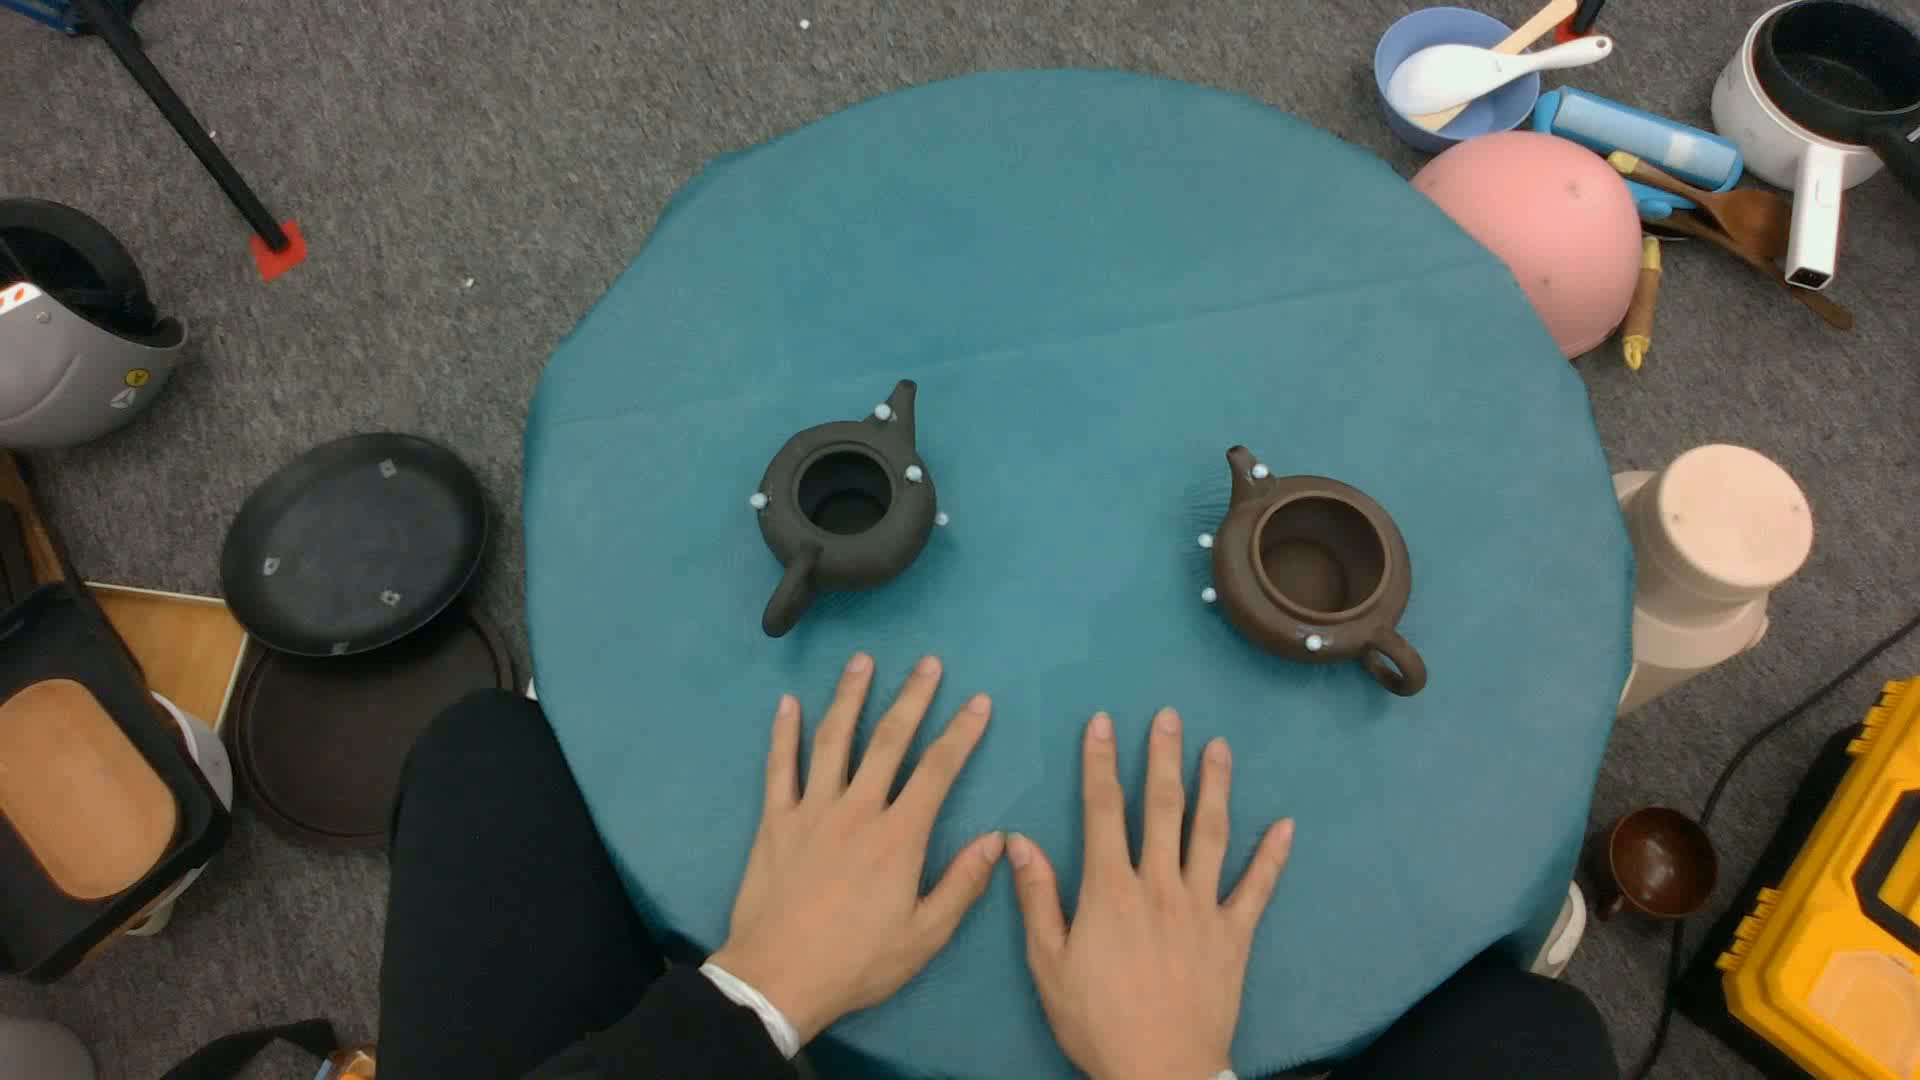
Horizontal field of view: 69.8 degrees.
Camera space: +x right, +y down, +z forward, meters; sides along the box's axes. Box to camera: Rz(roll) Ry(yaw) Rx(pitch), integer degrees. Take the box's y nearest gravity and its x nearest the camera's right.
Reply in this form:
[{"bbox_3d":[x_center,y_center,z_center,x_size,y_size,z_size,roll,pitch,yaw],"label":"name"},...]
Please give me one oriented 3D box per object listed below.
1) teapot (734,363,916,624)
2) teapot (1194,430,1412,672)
[{"bbox_3d":[-0.071,-0.022,0.714,0.092,0.064,0.155,25,69,10],"label":"teapot"},{"bbox_3d":[0.176,0.008,0.717,0.103,0.053,0.153,-40,74,-13],"label":"teapot"}]
